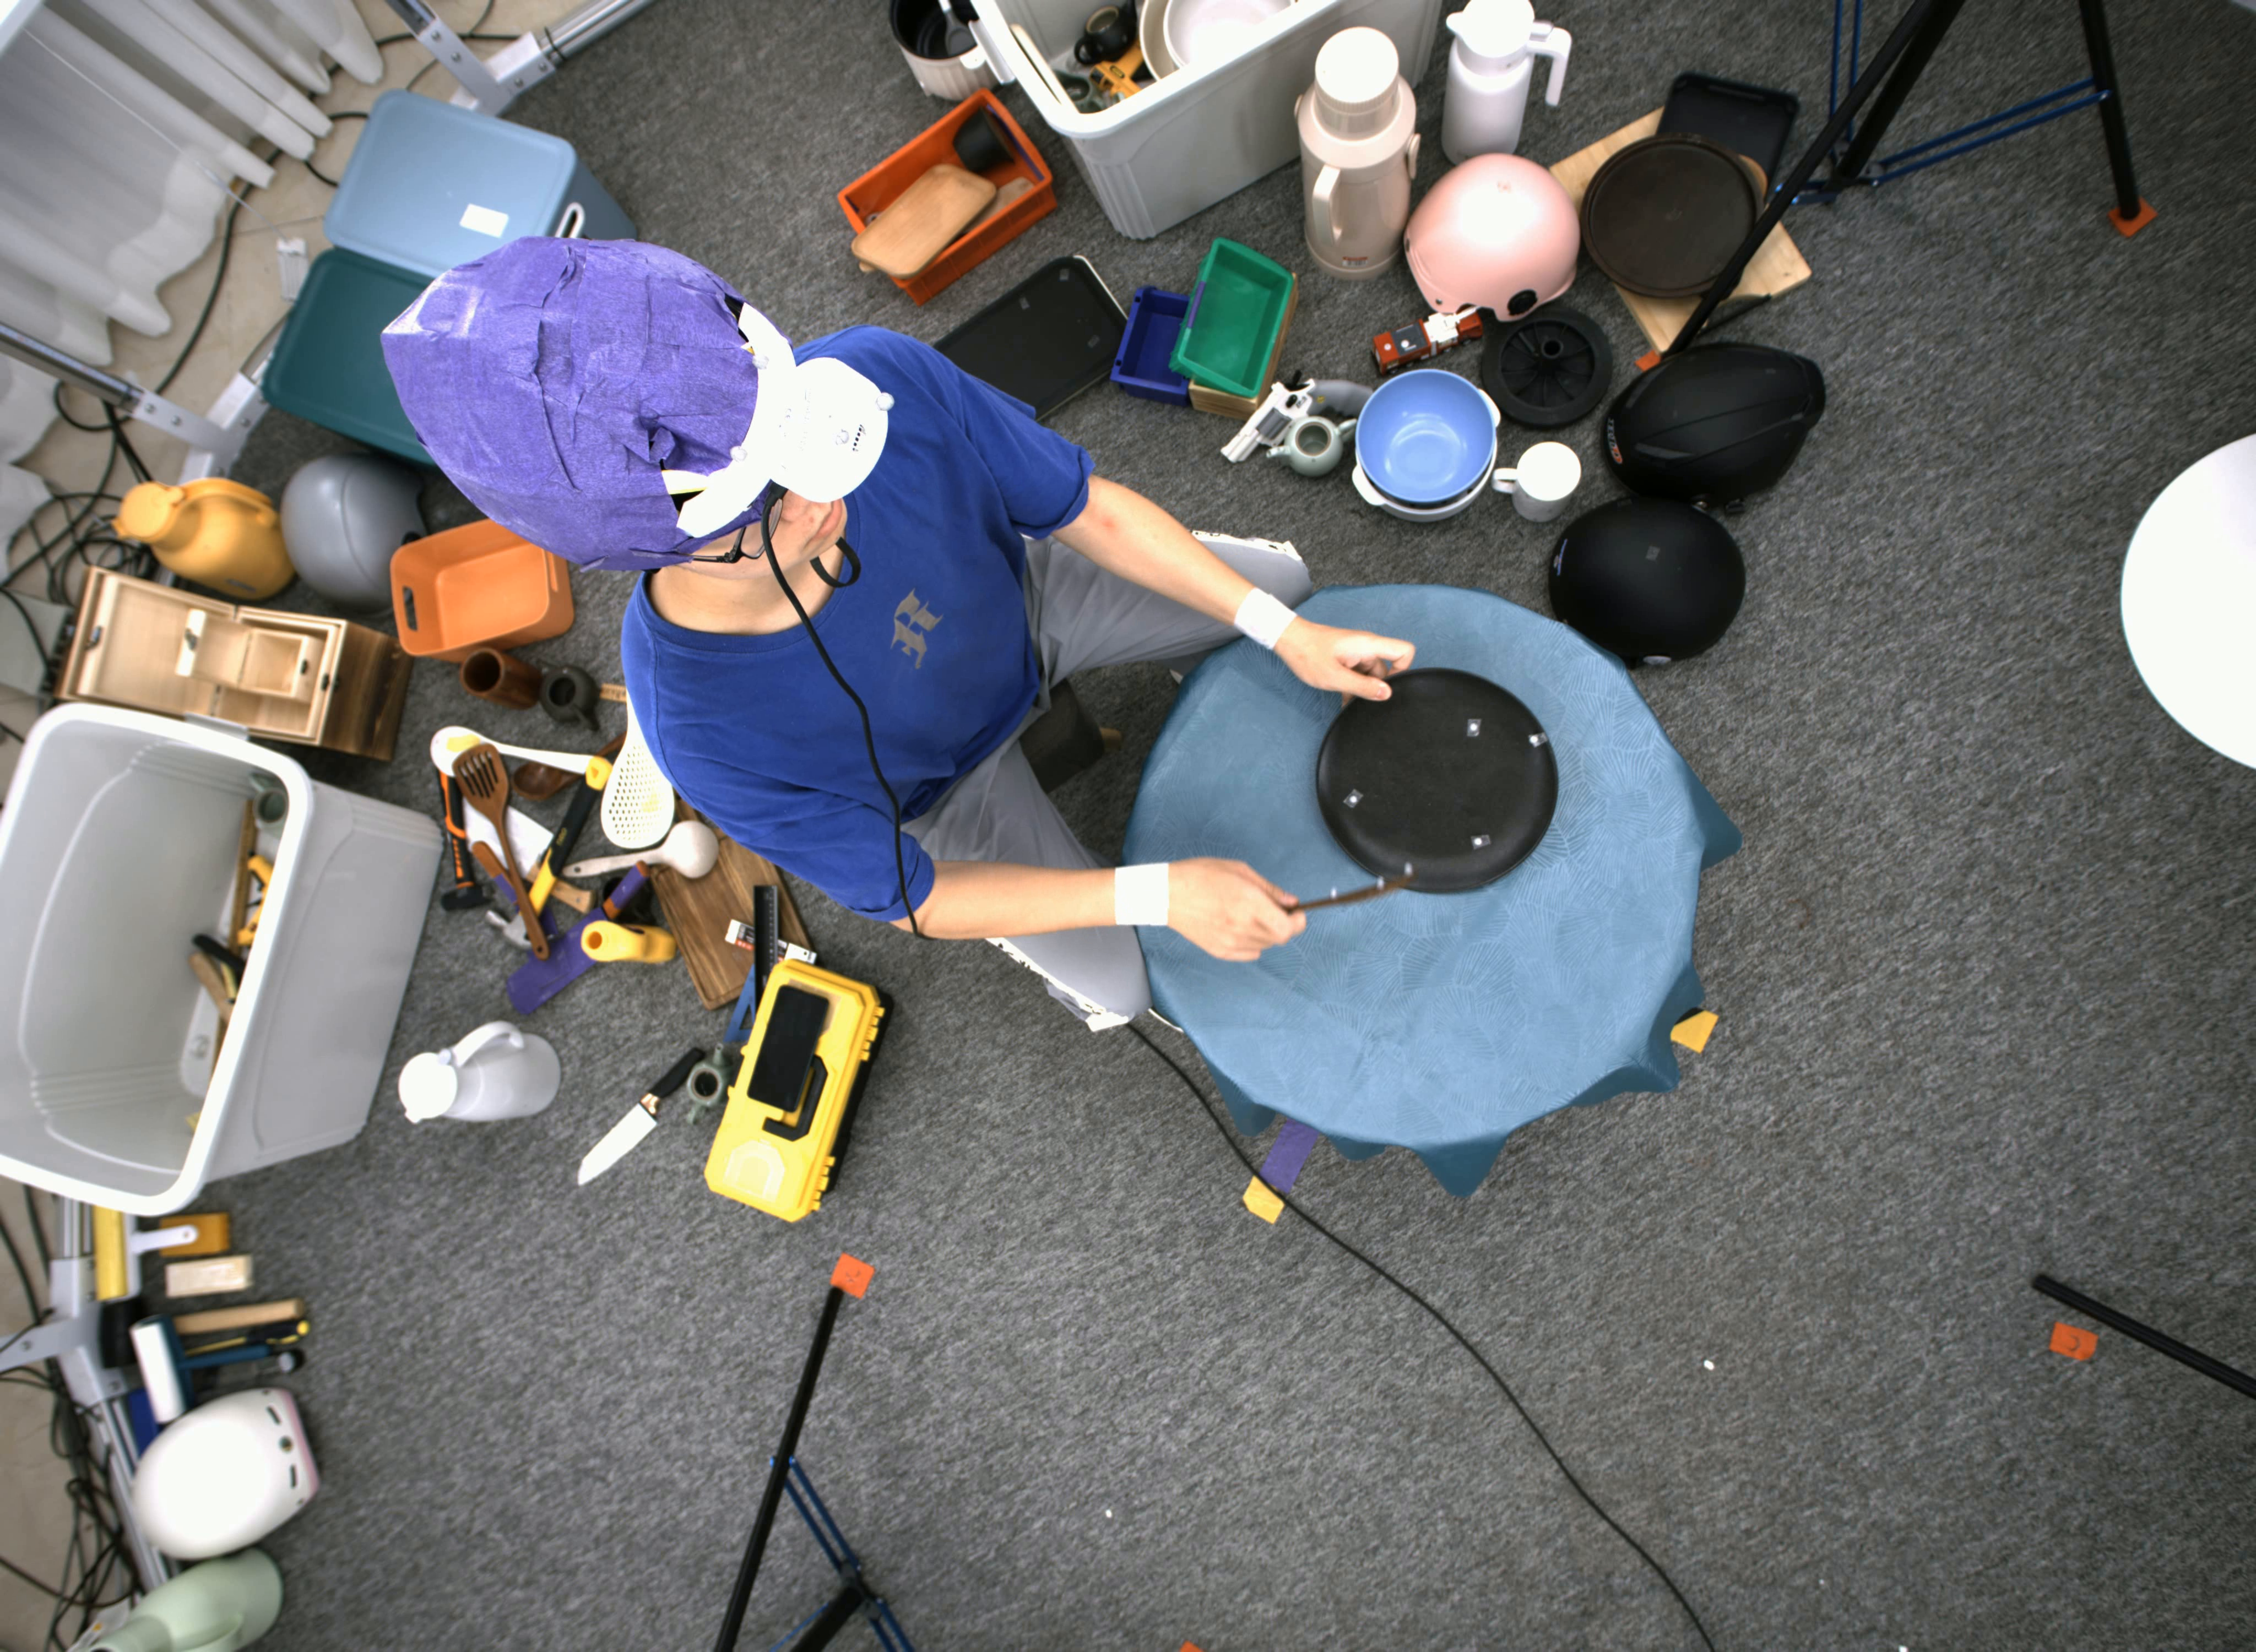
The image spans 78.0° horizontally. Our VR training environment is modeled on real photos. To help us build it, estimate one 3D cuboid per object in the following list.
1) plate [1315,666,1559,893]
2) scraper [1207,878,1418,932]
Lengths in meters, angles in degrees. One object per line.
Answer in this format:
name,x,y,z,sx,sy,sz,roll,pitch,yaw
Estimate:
plate,0.314,-0.049,1.404,0.245,0.023,0.249,6,115,13
scraper,0.176,0.078,1.332,0.213,0.075,0.011,-13,94,23
